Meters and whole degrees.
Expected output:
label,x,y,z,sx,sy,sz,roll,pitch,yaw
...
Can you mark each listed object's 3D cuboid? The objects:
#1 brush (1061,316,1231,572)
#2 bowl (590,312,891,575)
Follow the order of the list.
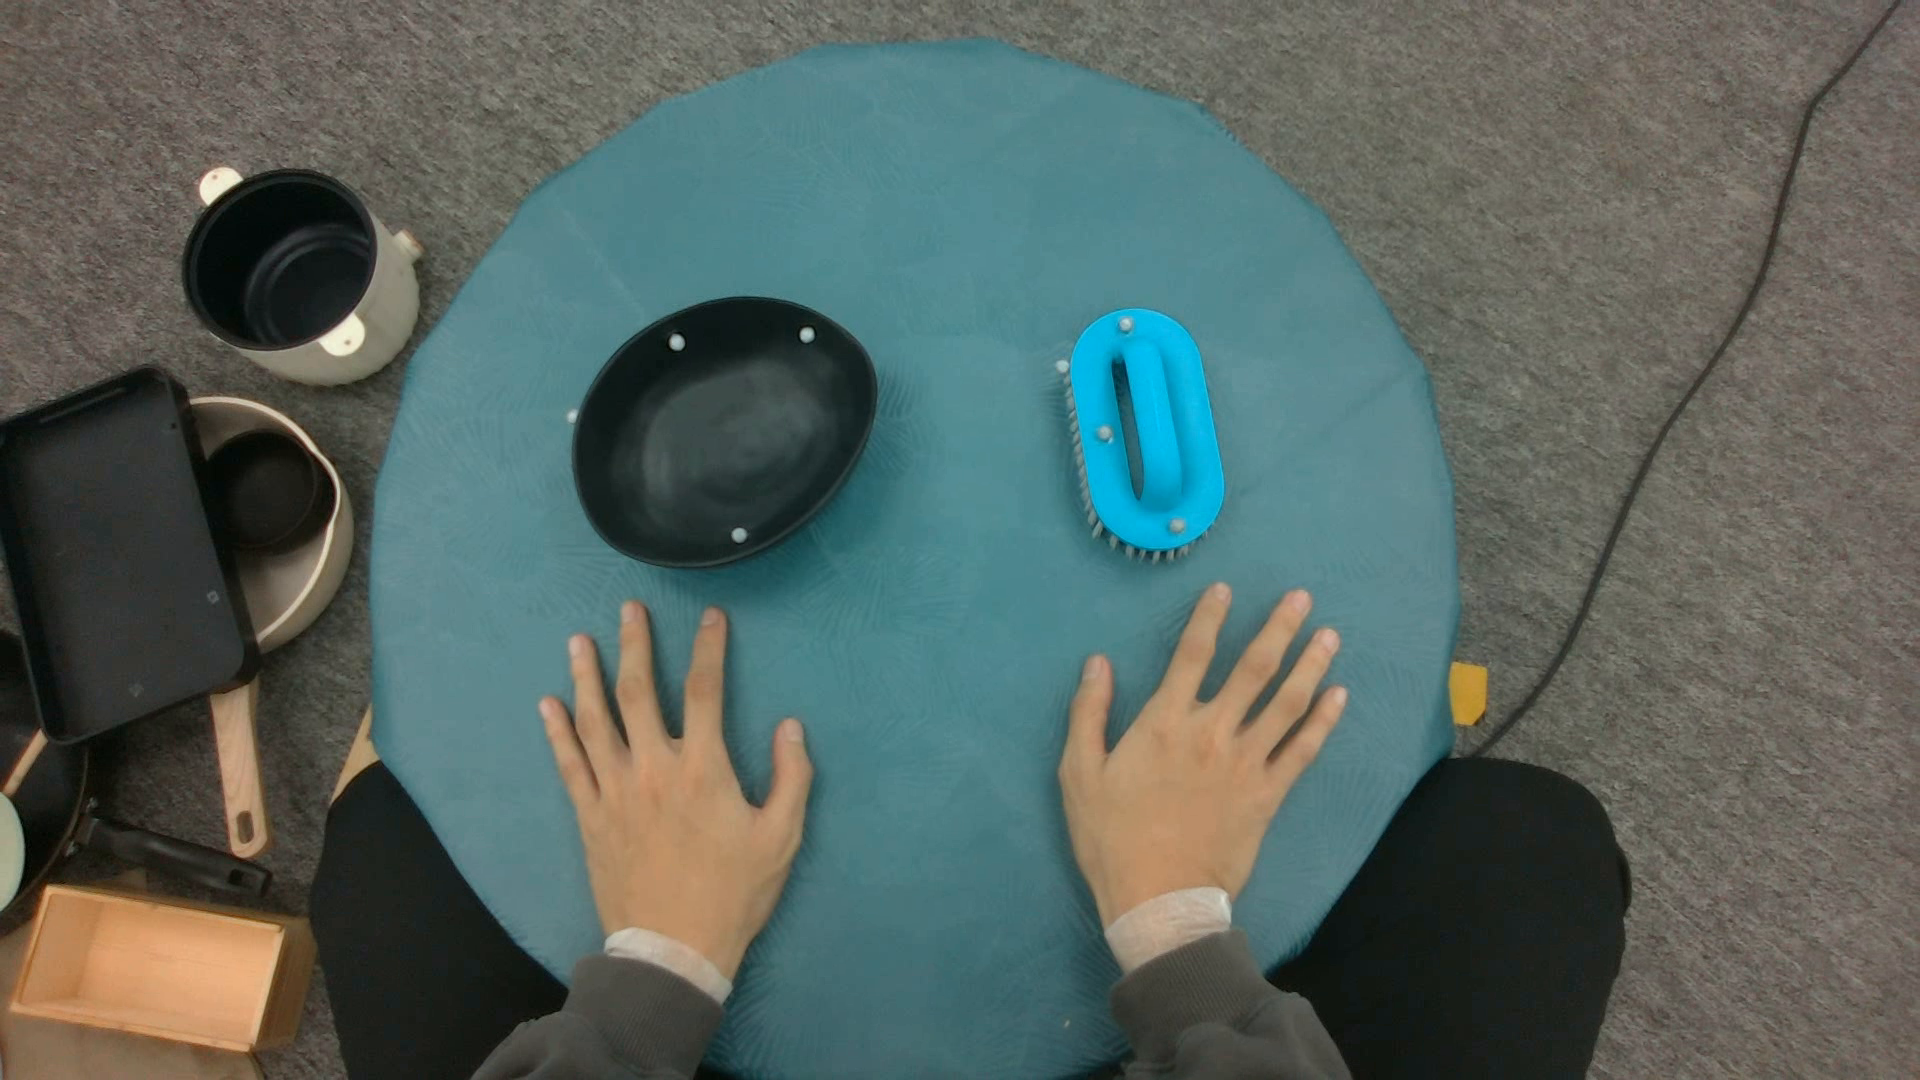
label,x,y,z,sx,sy,sz,roll,pitch,yaw
brush,0.104,-0.057,0.750,0.084,0.063,0.142,-5,77,-4
bowl,-0.117,-0.049,0.756,0.170,0.066,0.137,-38,78,-9
